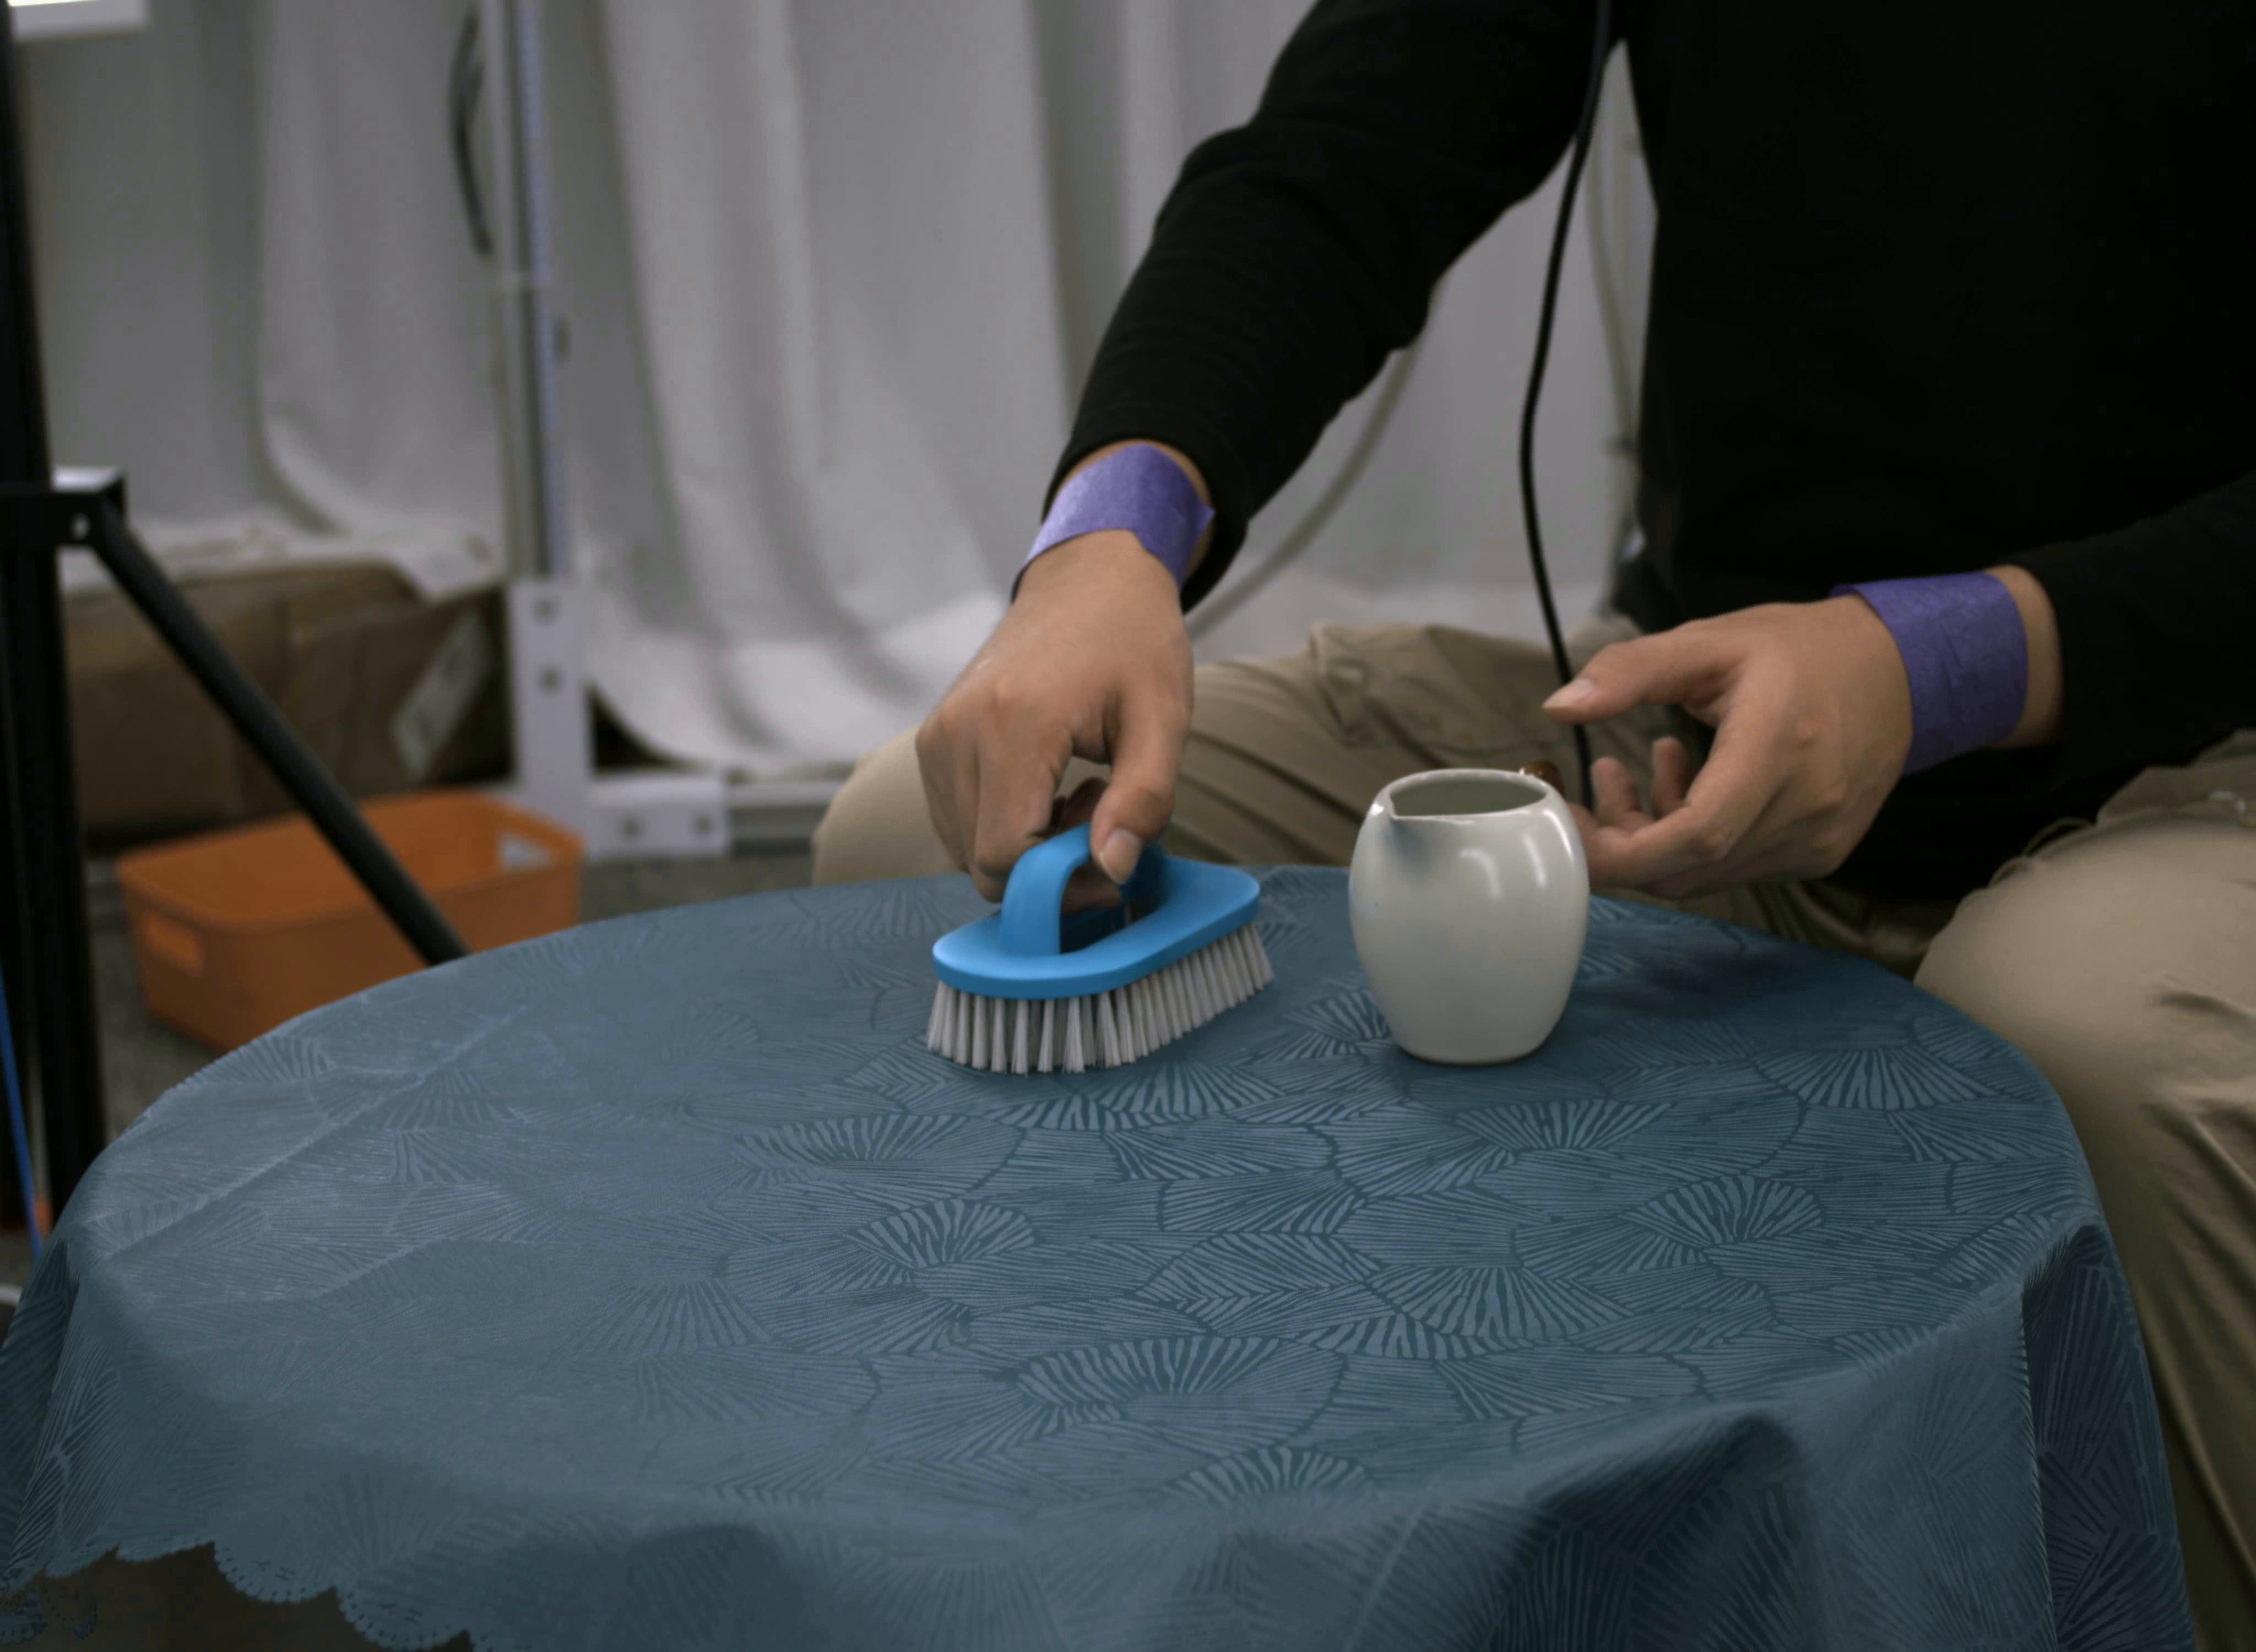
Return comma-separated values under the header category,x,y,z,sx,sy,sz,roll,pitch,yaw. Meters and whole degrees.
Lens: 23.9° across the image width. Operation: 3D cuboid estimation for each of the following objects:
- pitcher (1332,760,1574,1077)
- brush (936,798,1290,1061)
category,x,y,z,sx,sy,sz,roll,pitch,yaw
pitcher,0.106,0.028,1.665,0.077,0.088,0.117,14,25,31
brush,-0.007,0.028,1.721,0.086,0.064,0.139,3,15,34
